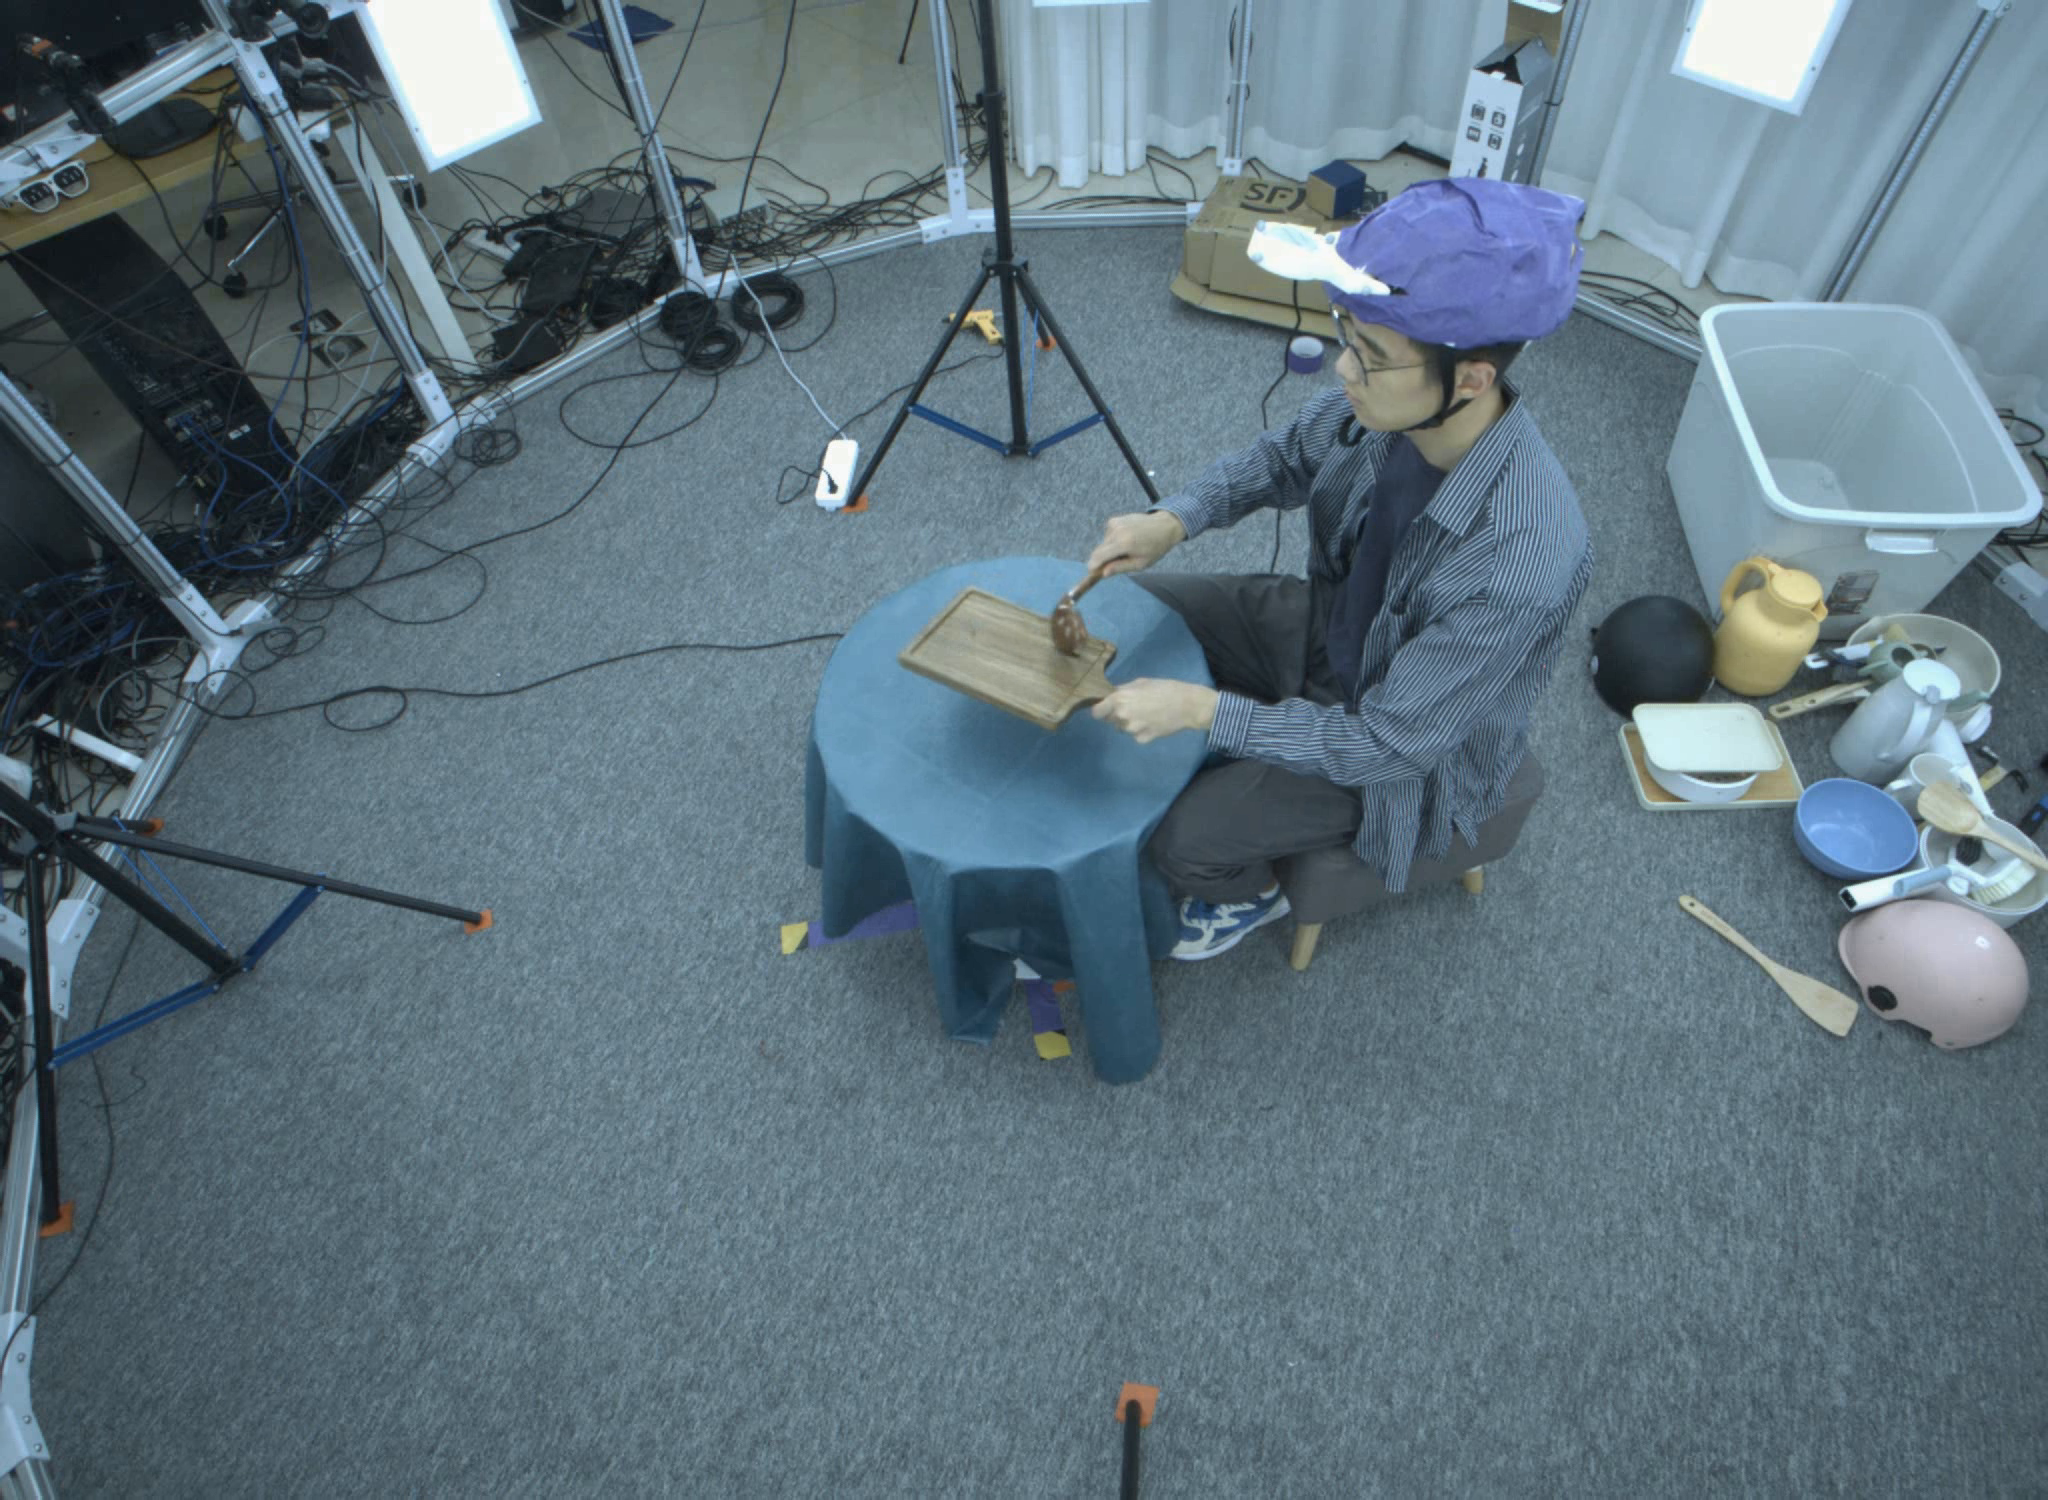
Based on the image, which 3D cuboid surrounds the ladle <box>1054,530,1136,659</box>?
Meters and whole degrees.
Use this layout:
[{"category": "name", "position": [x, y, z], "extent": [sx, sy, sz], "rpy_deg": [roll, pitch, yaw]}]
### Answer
[{"category": "ladle", "position": [0.120, -0.229, 1.749], "extent": [0.076, 0.082, 0.275], "rpy_deg": [32, 51, 11]}]

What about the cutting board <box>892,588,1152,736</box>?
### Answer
[{"category": "cutting board", "position": [0.014, -0.108, 1.700], "extent": [0.348, 0.023, 0.202], "rpy_deg": [25, 47, 13]}]
